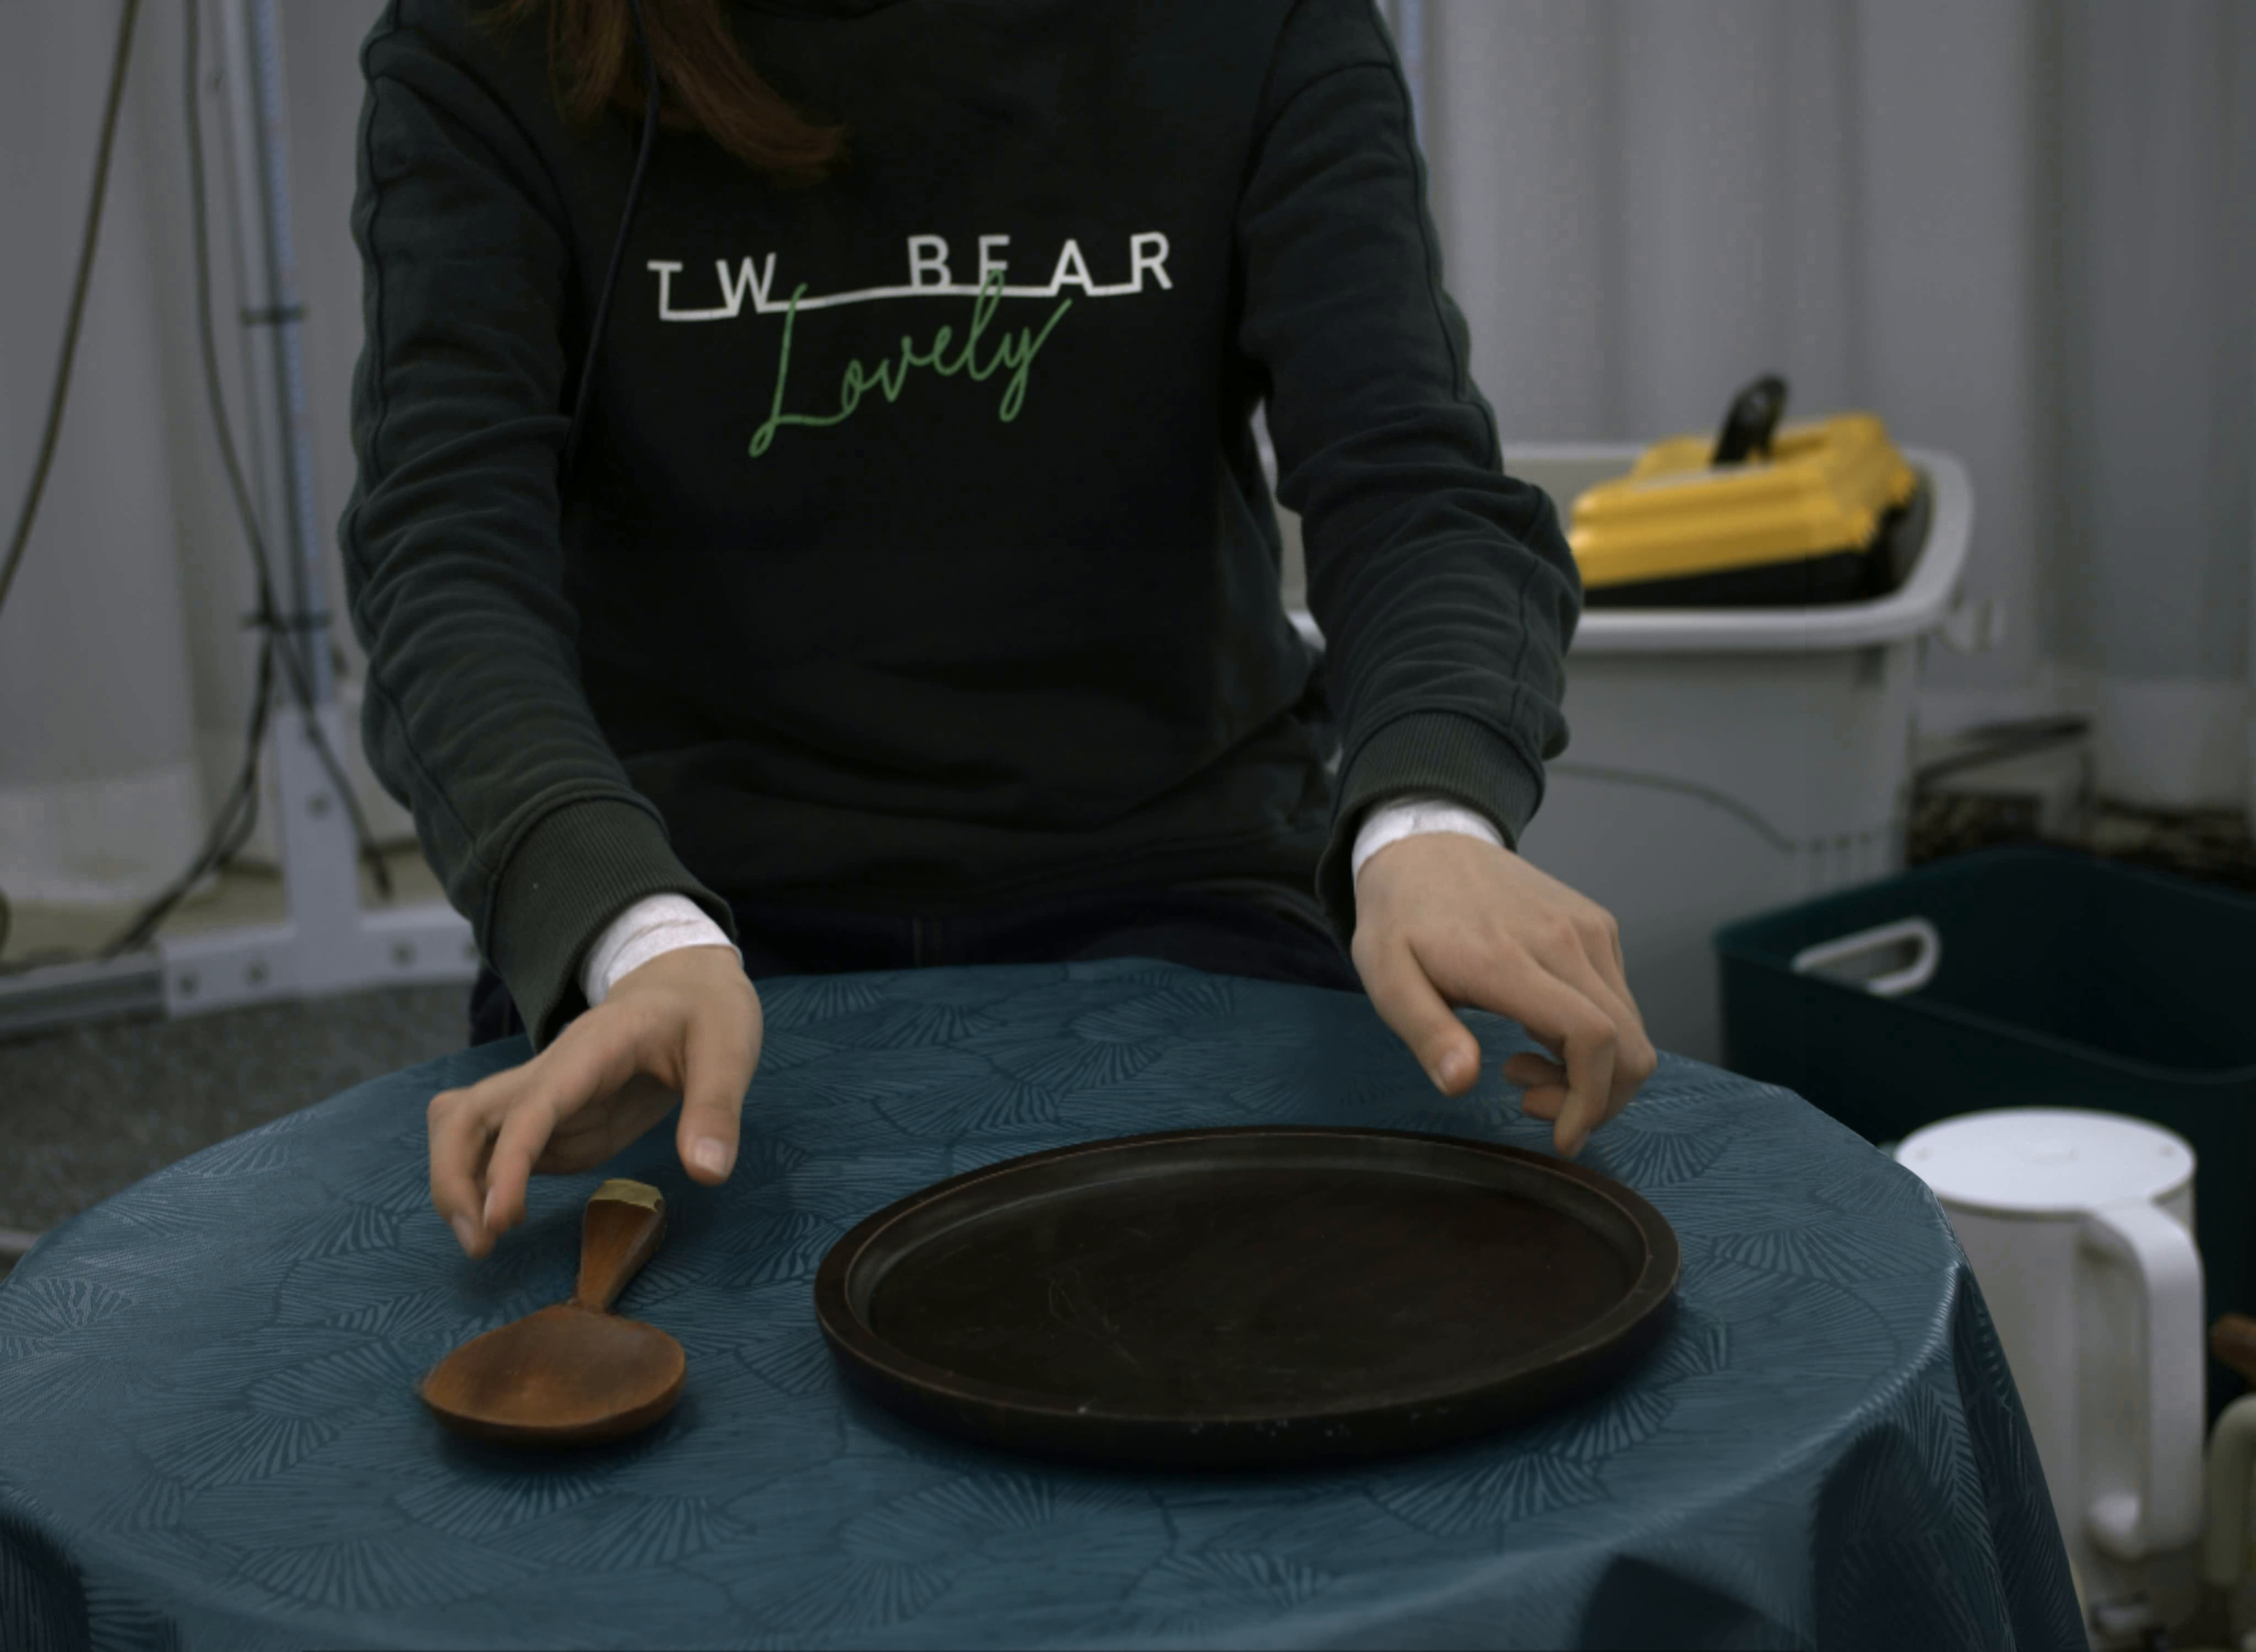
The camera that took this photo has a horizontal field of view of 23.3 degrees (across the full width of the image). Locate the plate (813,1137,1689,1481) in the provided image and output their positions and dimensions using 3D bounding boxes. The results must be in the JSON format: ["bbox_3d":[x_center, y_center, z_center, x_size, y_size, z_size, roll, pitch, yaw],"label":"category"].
[{"bbox_3d":[0.035,0.137,1.584,0.254,0.029,0.256,-2,16,0],"label":"plate"}]

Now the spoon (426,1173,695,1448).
[{"bbox_3d":[-0.158,0.143,1.604,0.075,0.017,0.217,-2,15,2],"label":"spoon"}]
